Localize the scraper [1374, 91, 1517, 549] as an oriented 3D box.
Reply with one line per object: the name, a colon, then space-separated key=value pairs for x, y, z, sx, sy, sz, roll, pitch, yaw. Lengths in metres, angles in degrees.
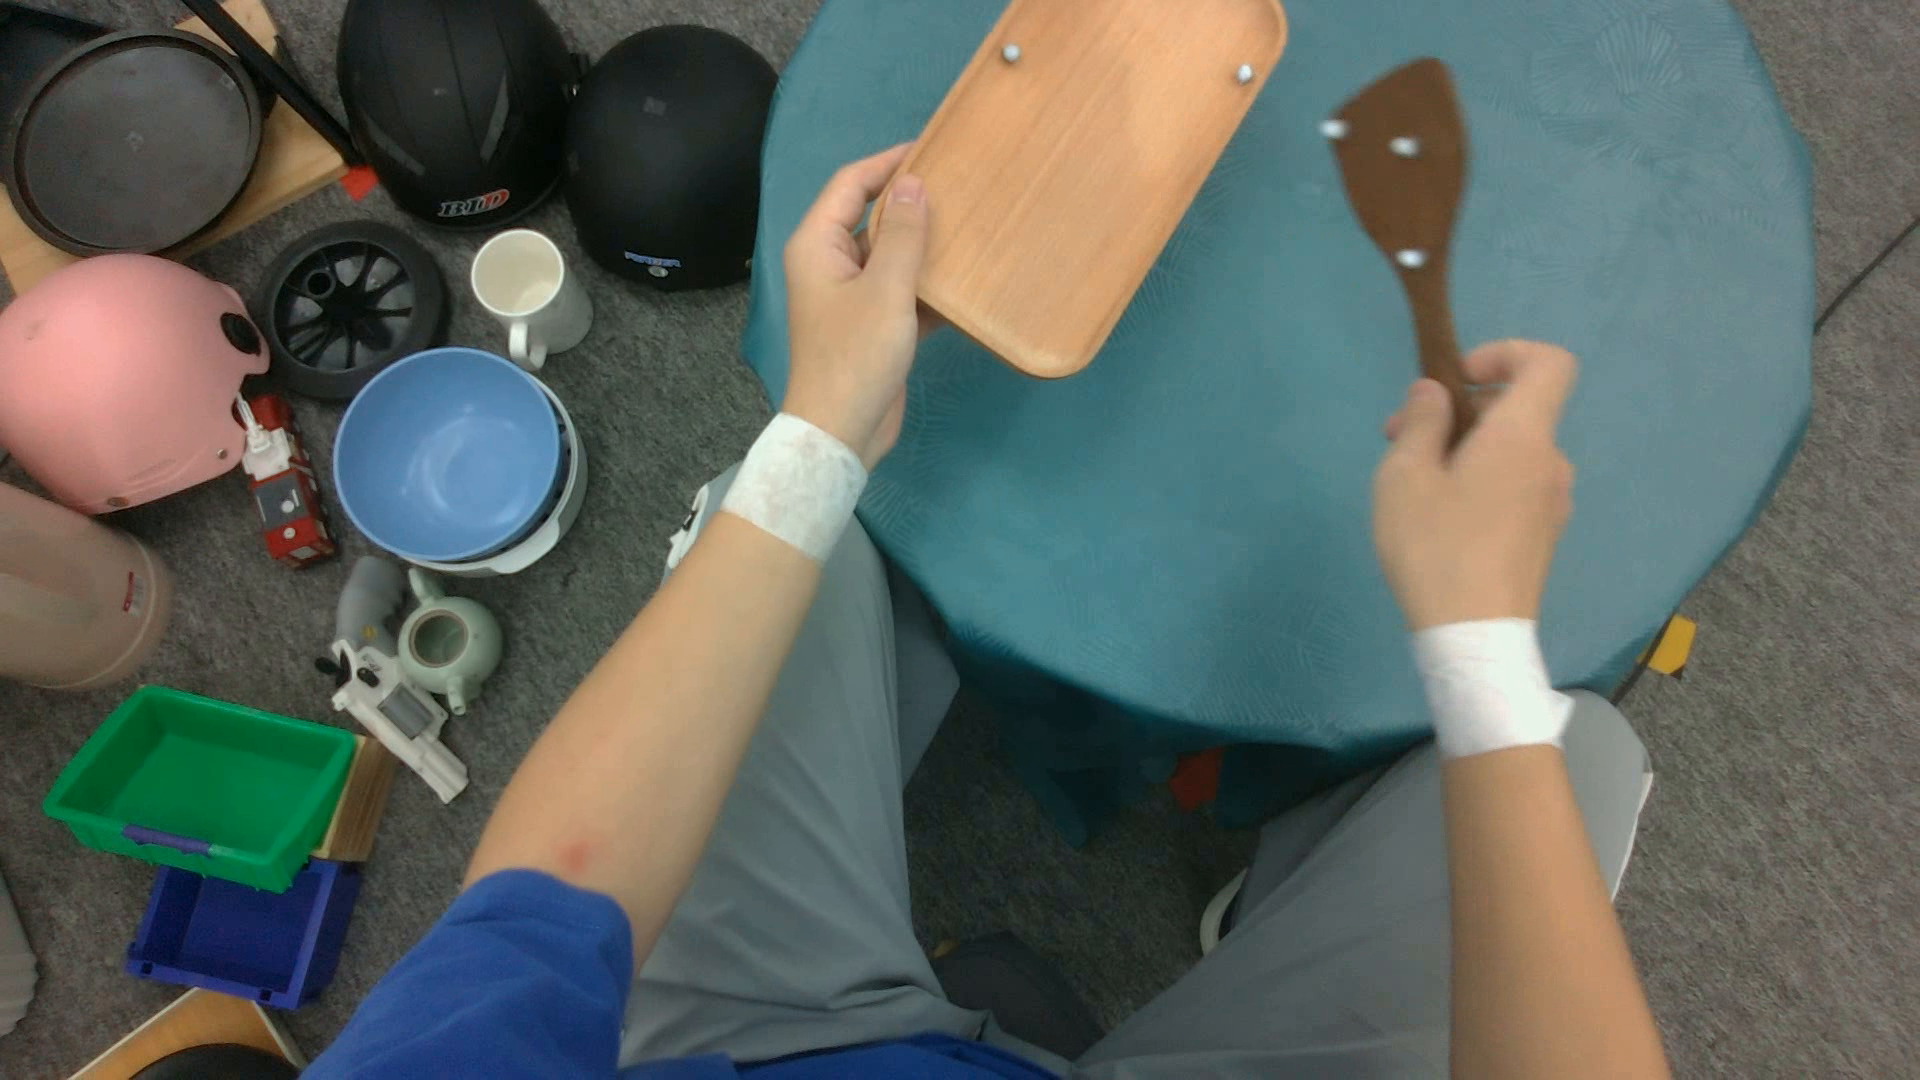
scraper: x=0.236 y=-0.101 z=0.649 sx=0.011 sy=0.075 sz=0.211 roll=0 pitch=83 yaw=-35

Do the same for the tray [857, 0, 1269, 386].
tray: x=0.056 y=-0.201 z=0.690 sx=0.130 sy=0.023 sz=0.251 roll=33 pitch=75 yaw=-5
